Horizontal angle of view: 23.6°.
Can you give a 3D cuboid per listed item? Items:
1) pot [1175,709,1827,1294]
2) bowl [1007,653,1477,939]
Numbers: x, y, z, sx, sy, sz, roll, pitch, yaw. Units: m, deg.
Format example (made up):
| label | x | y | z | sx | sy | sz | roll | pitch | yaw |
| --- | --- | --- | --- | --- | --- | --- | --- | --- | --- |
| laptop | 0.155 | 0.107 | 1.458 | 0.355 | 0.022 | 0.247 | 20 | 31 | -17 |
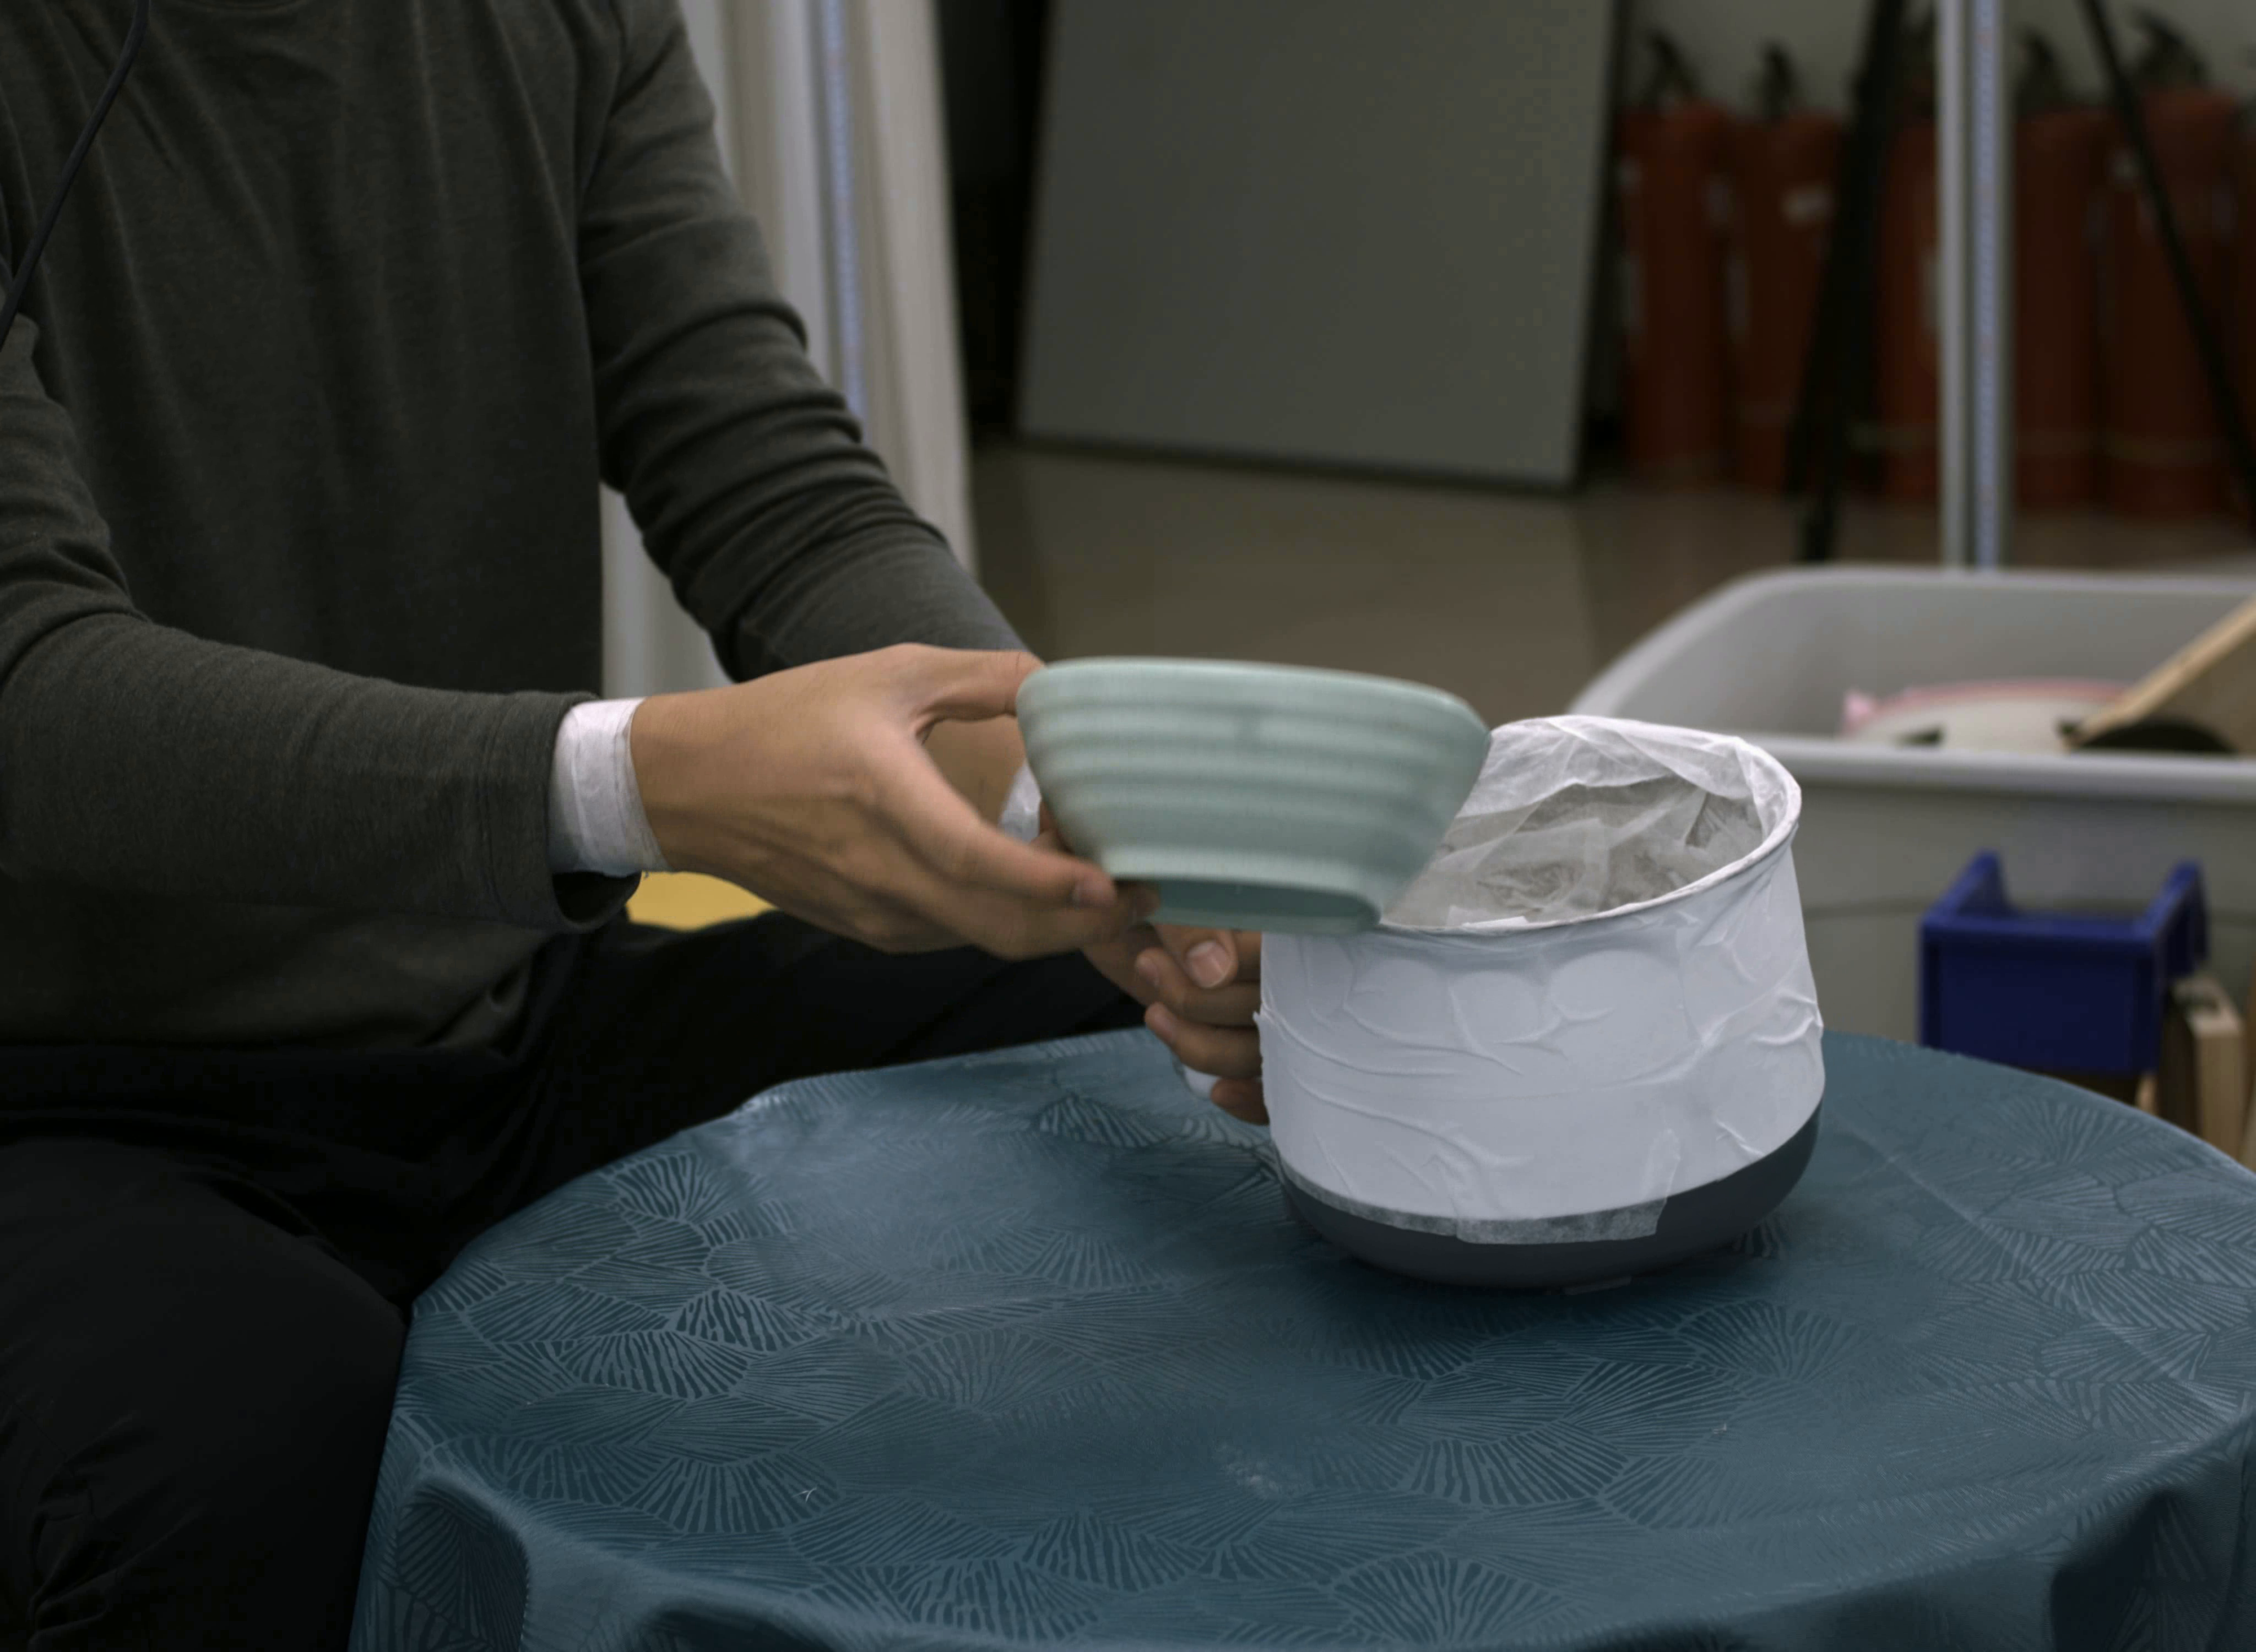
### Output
| label | x | y | z | sx | sy | sz | roll | pitch | yaw |
| --- | --- | --- | --- | --- | --- | --- | --- | --- | --- |
| pot | 0.107 | 0.052 | 1.703 | 0.235 | 0.138 | 0.176 | 8 | 25 | 39 |
| bowl | 0.030 | -0.005 | 1.560 | 0.149 | 0.059 | 0.151 | 7 | -10 | 0 |
